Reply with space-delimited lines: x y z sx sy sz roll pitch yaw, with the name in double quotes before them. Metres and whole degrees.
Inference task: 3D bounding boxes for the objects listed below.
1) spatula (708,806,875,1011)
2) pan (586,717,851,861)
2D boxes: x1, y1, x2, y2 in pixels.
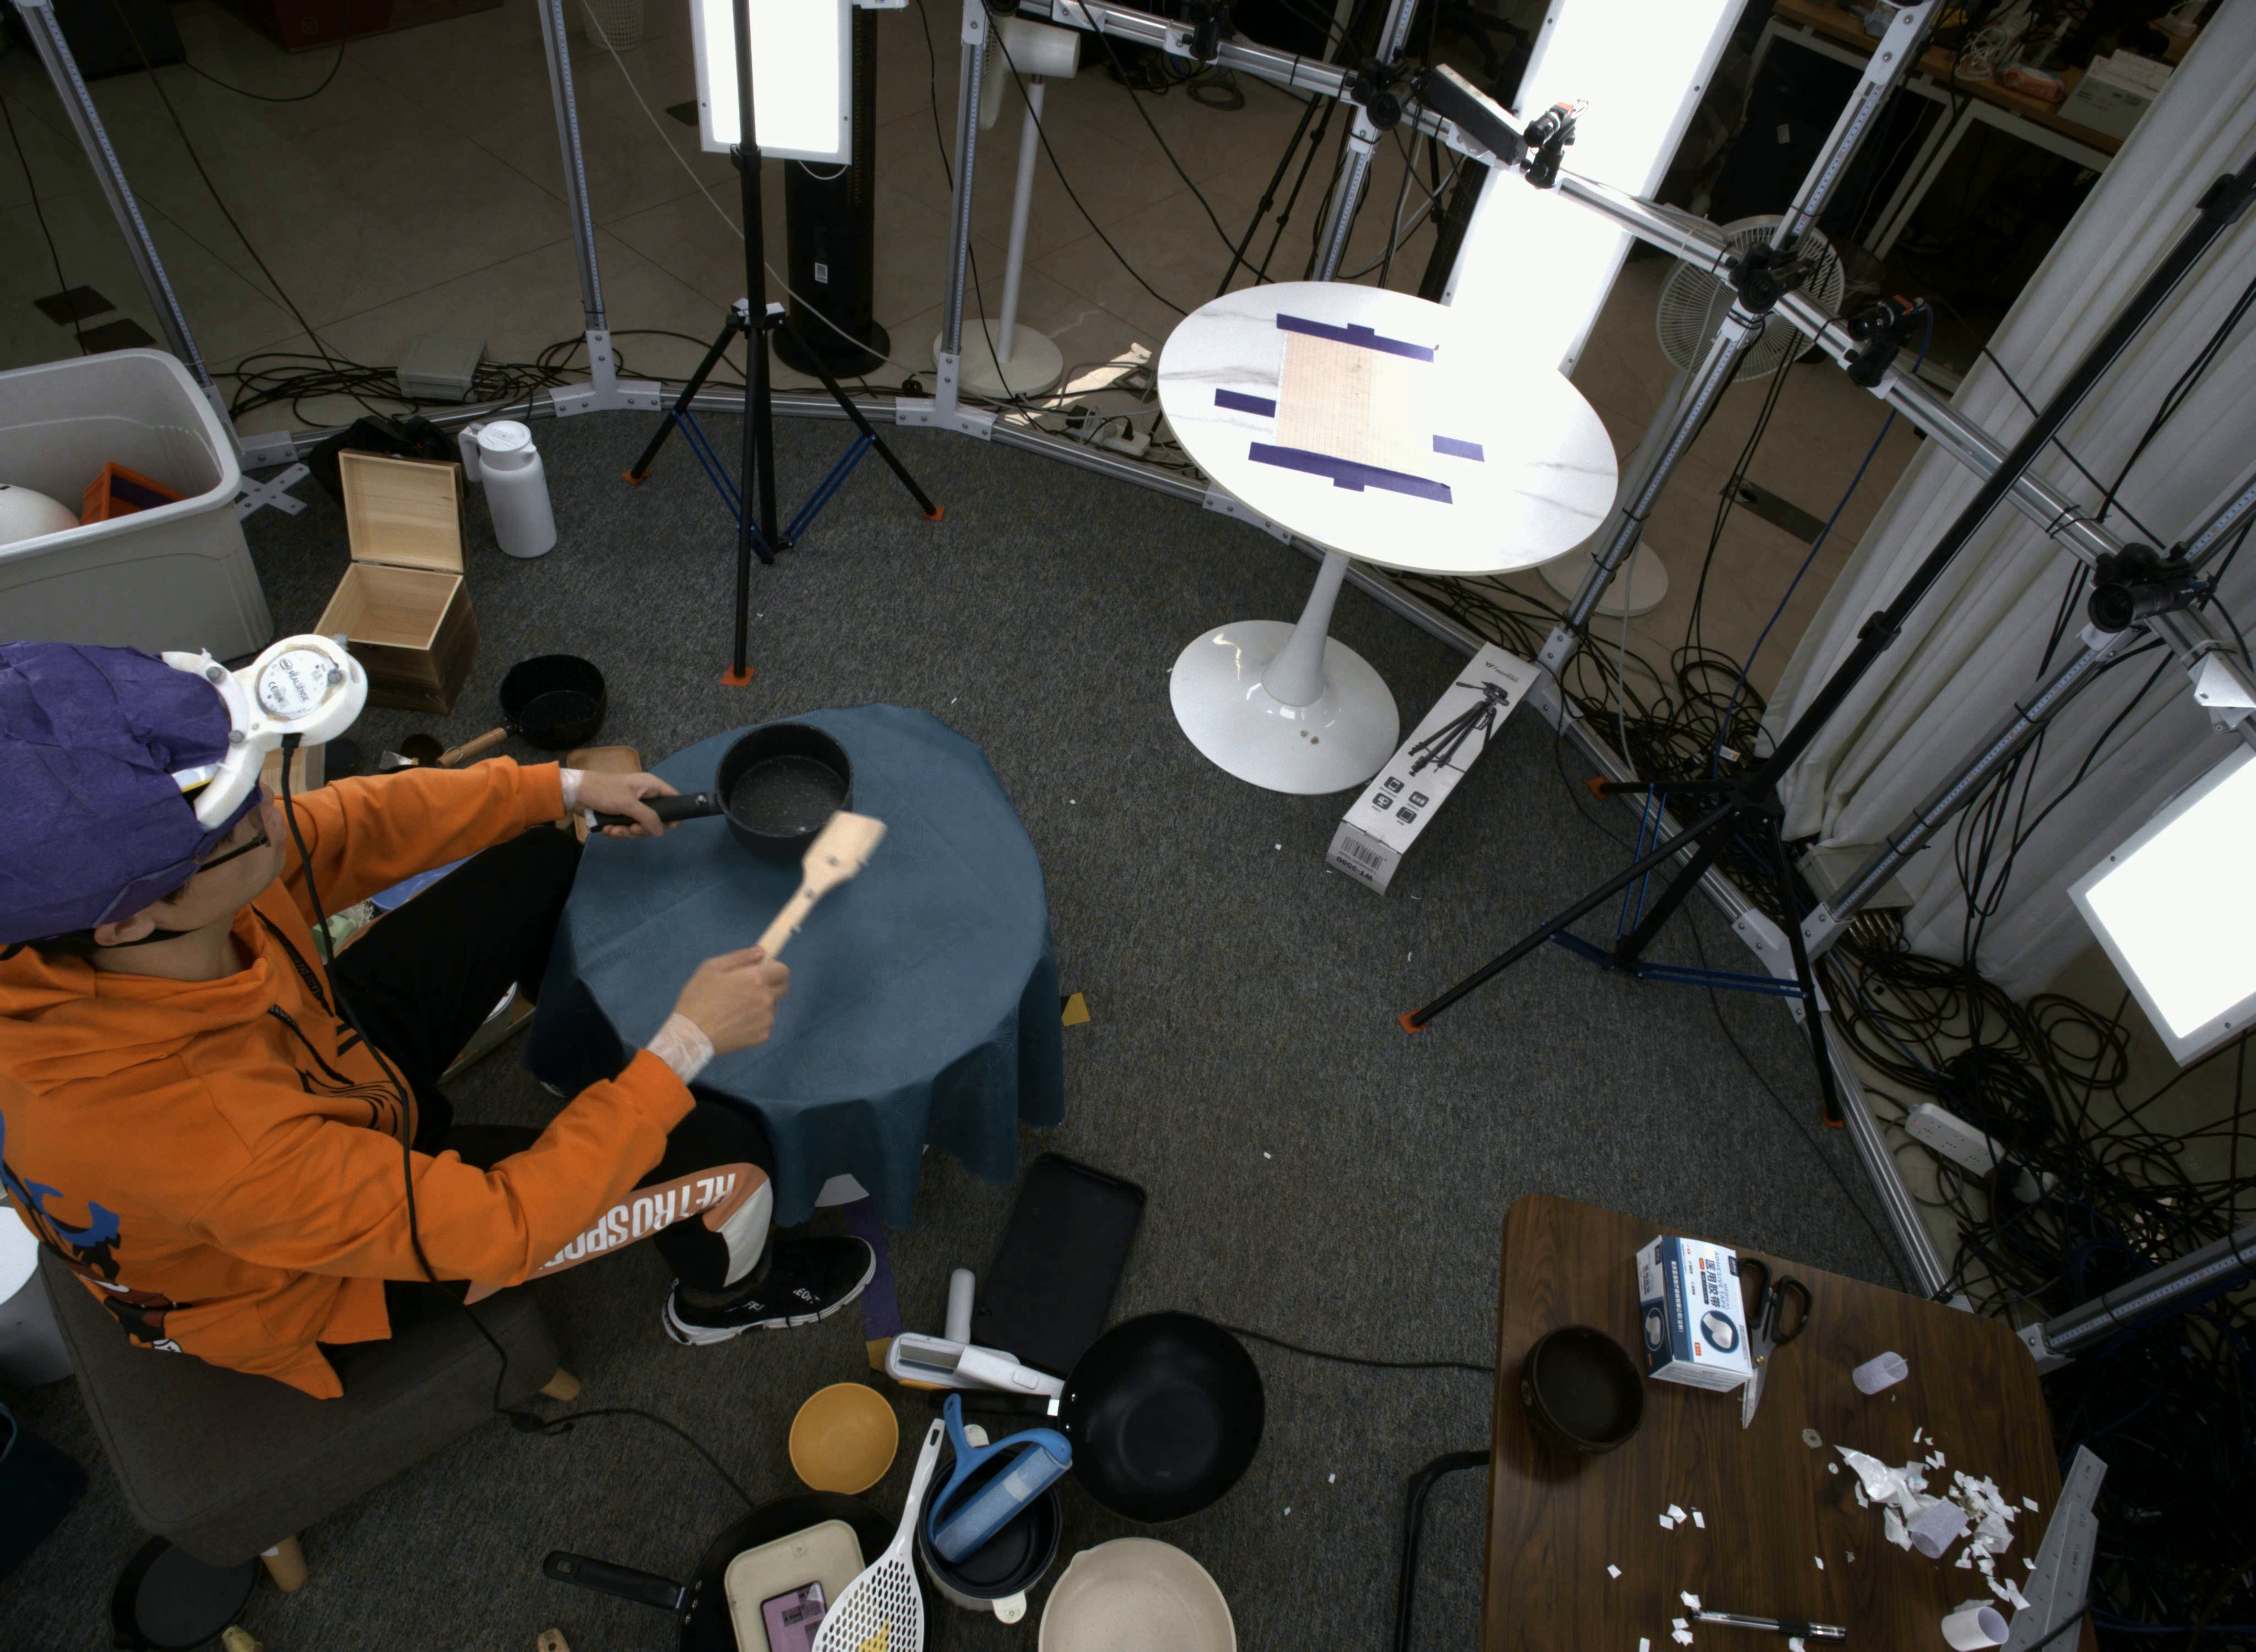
"spatula" -0.377 0.086 1.440 0.070 0.011 0.291 12 51 20
"pan" -0.511 -0.032 1.614 0.329 0.088 0.169 -10 63 -18
